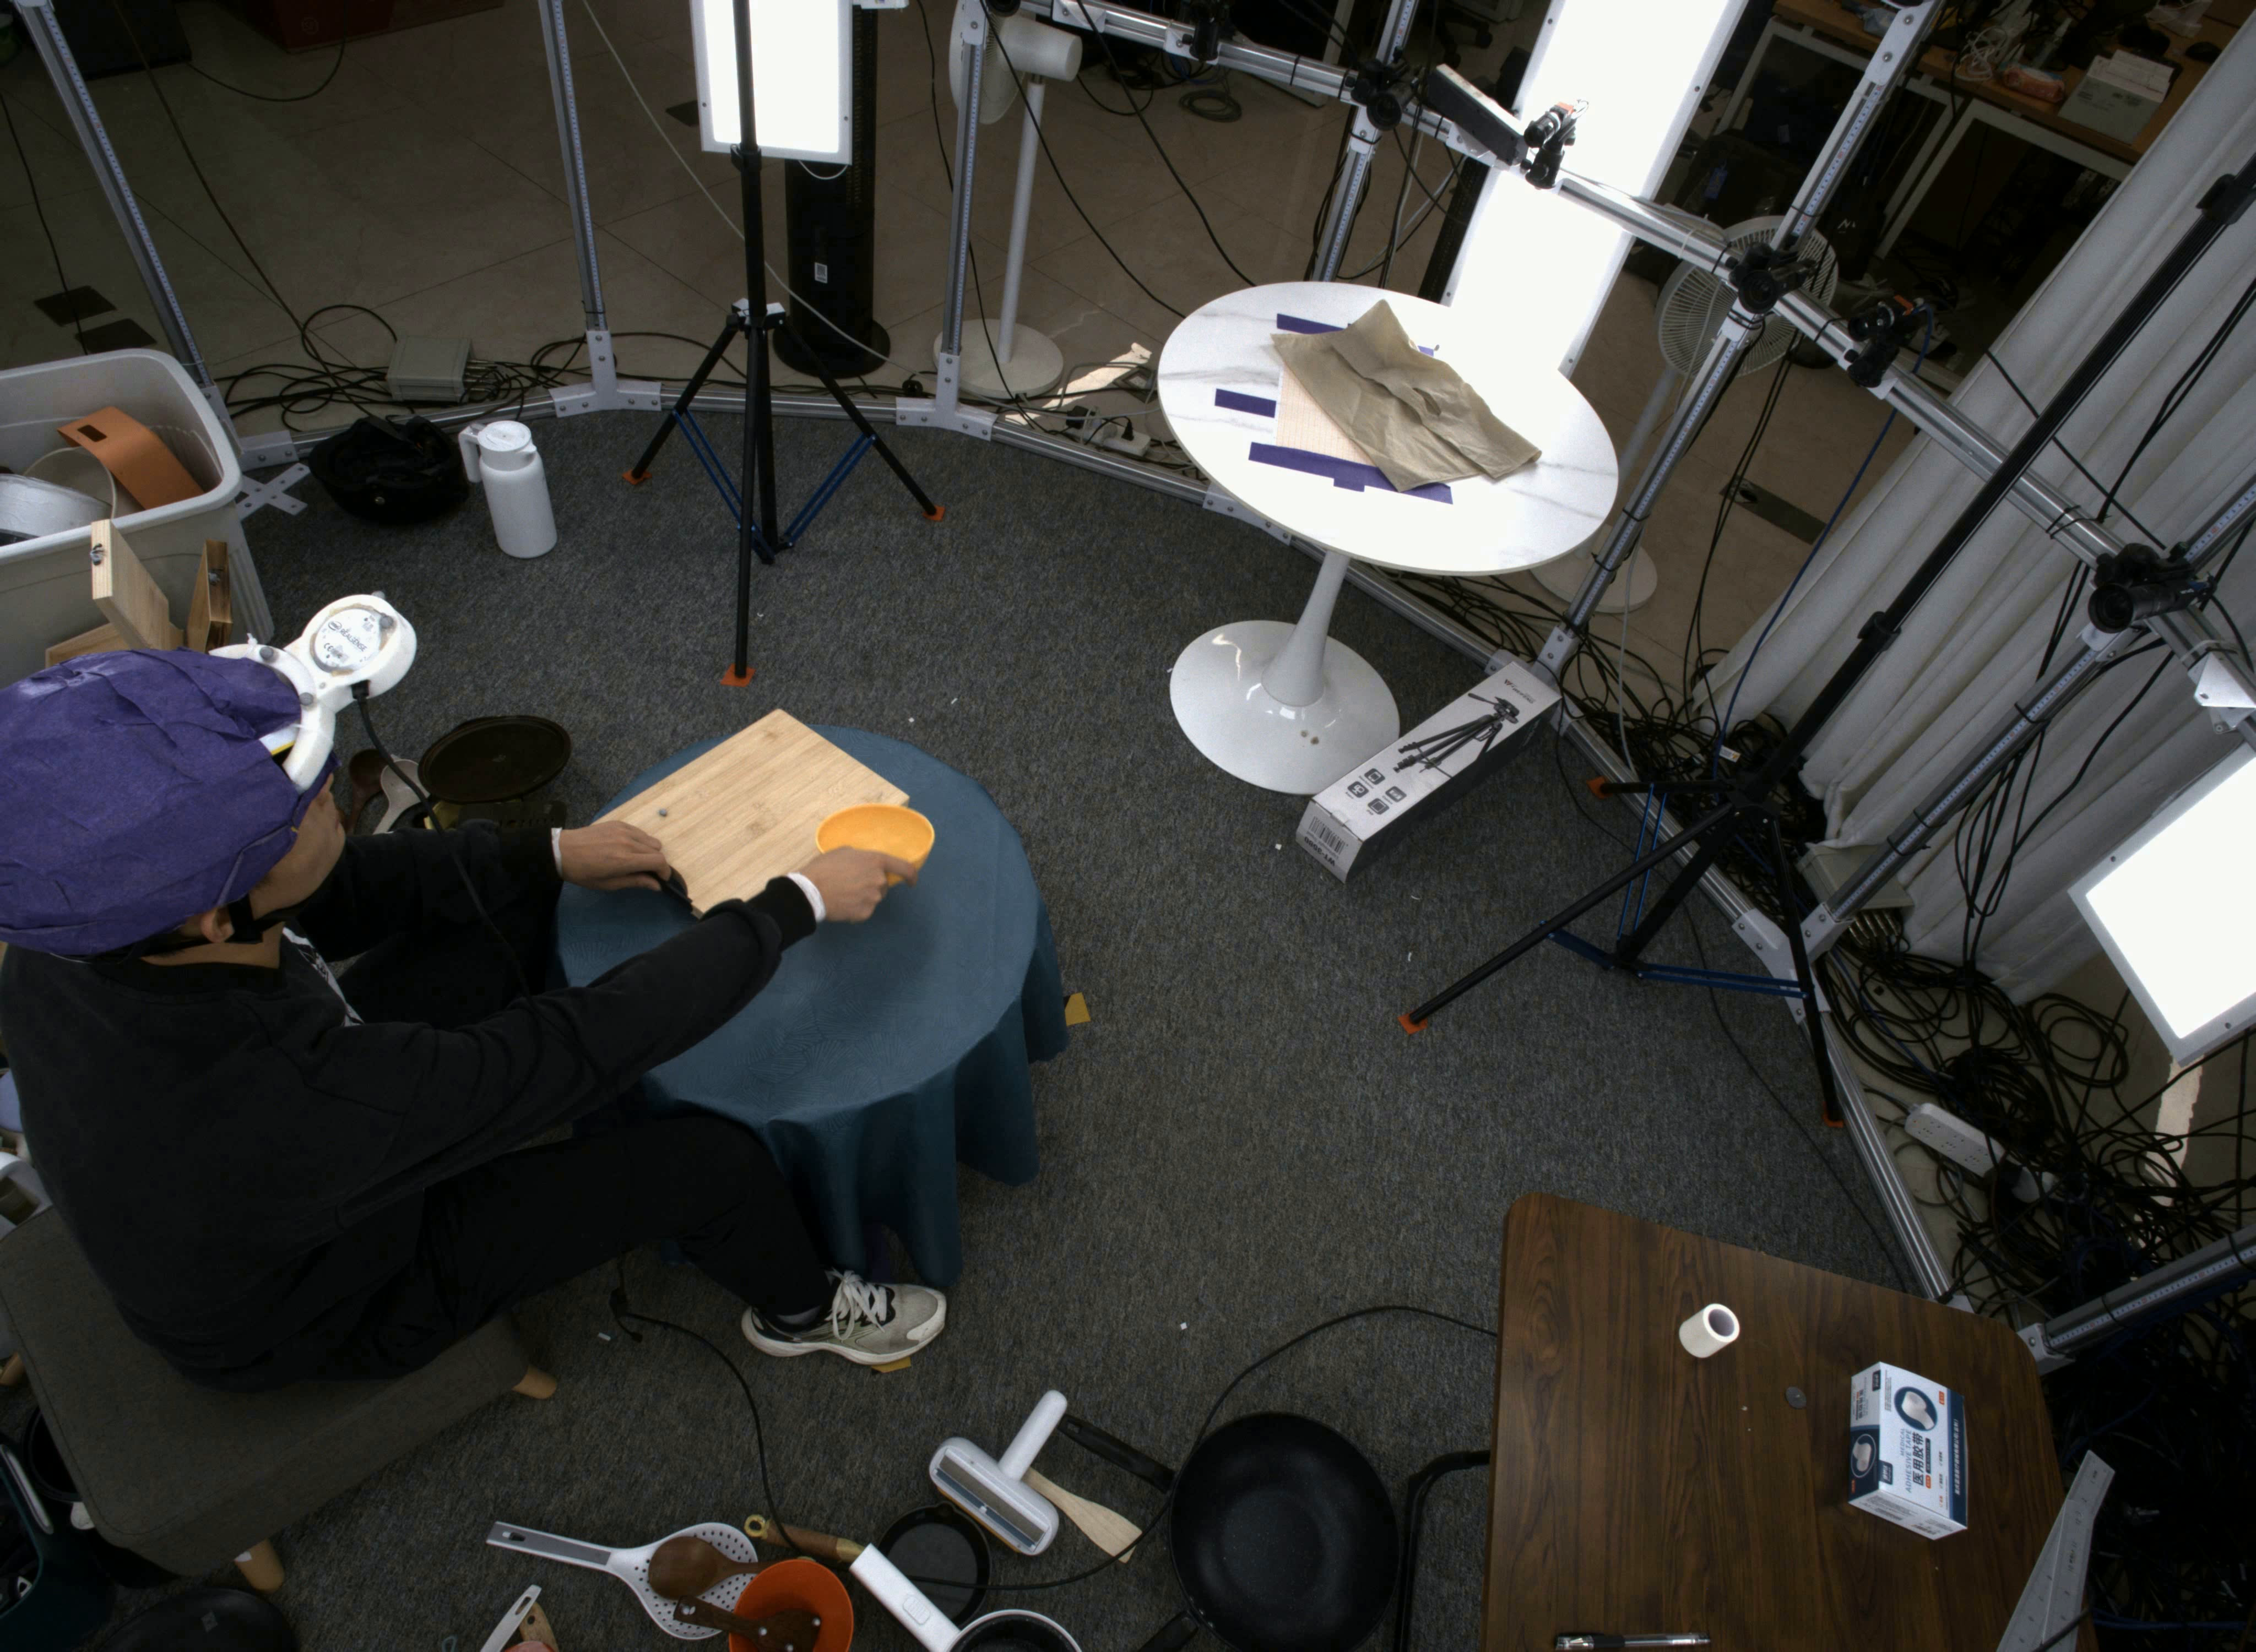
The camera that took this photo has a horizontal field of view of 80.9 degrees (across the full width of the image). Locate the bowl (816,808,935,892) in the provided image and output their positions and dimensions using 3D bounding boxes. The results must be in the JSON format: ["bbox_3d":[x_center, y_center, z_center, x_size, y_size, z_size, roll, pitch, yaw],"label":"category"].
[{"bbox_3d":[-0.310,0.038,1.609,0.144,0.062,0.142,4,33,-1],"label":"bowl"}]

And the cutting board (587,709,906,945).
[{"bbox_3d":[-0.487,-0.012,1.676,0.246,0.024,0.348,33,44,11],"label":"cutting board"}]
